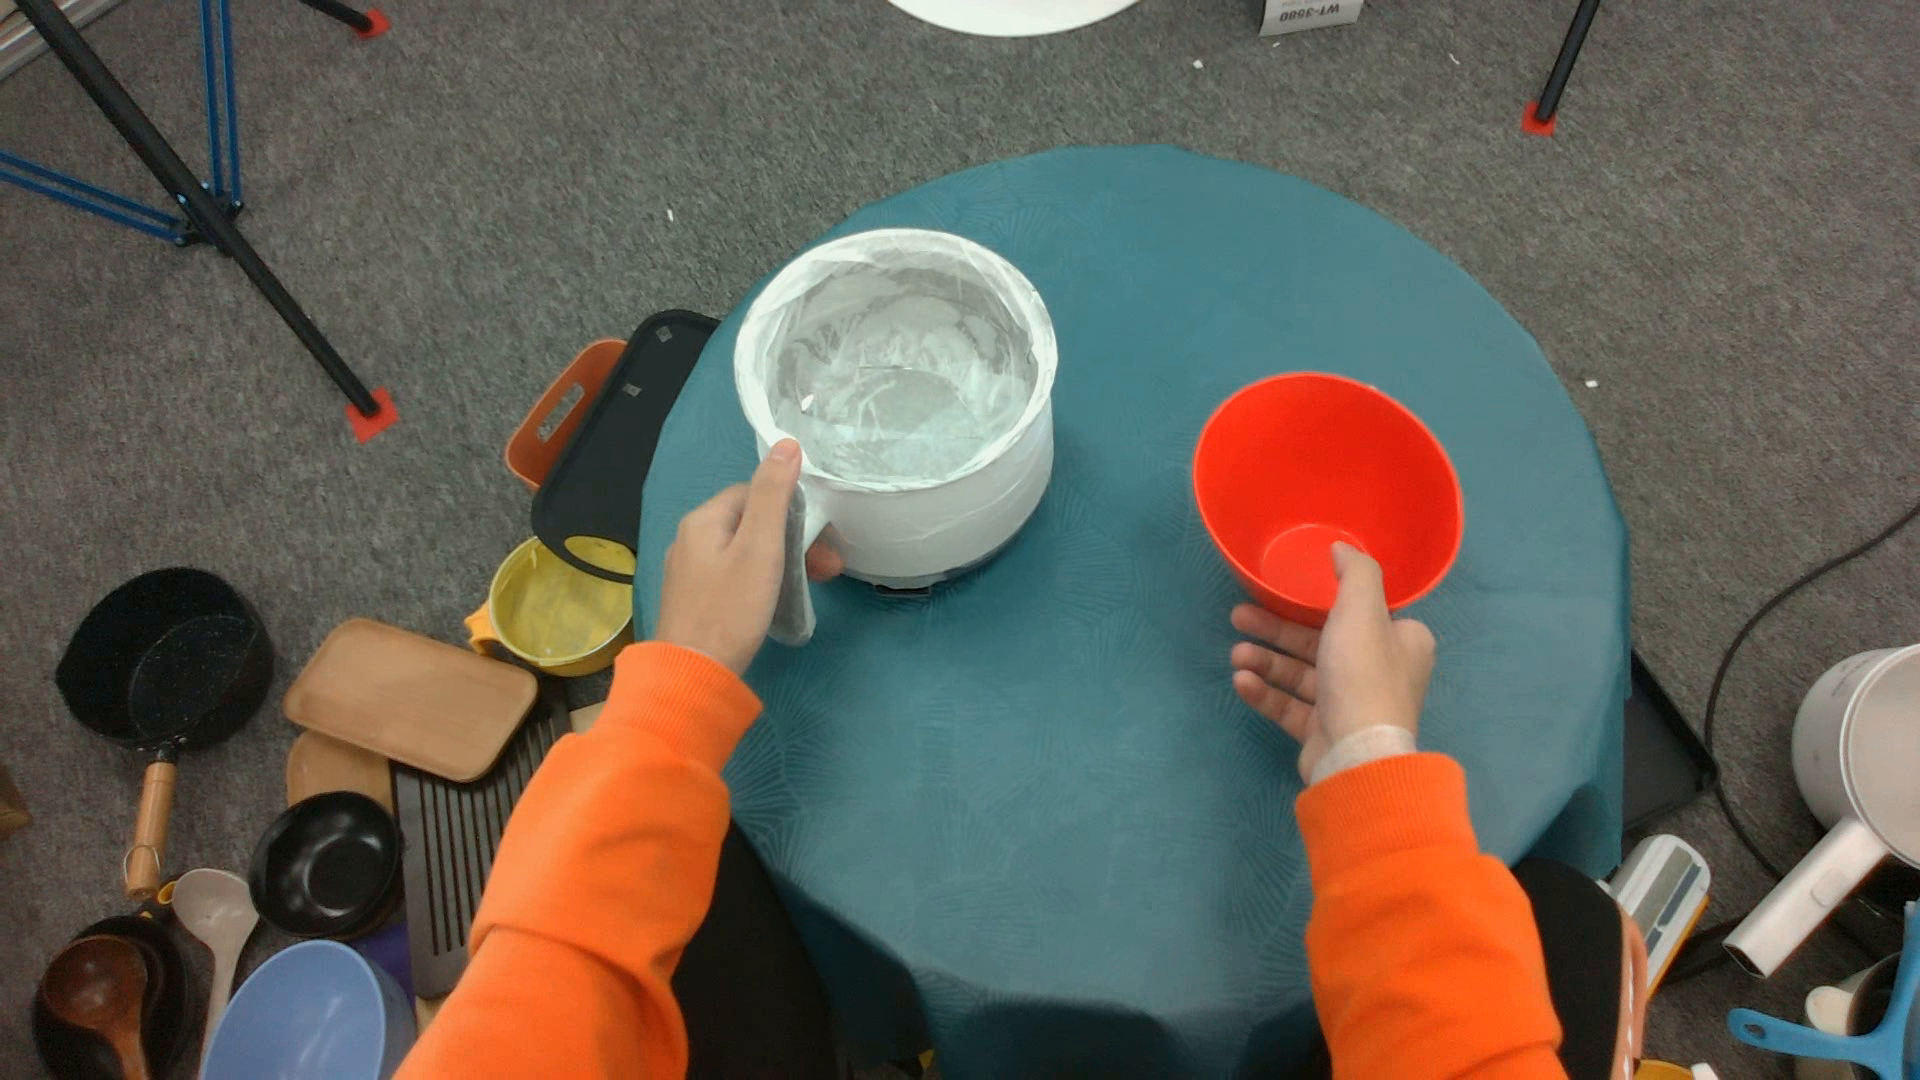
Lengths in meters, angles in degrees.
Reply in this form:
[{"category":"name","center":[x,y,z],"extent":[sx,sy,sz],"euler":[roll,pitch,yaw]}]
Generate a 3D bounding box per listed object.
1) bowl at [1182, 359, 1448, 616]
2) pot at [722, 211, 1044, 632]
[{"category":"bowl","center":[0.195,-0.016,0.784],"extent":[0.148,0.104,0.148],"euler":[-1,60,1]},{"category":"pot","center":[-0.053,-0.060,0.794],"extent":[0.178,0.136,0.234],"euler":[26,65,15]}]
